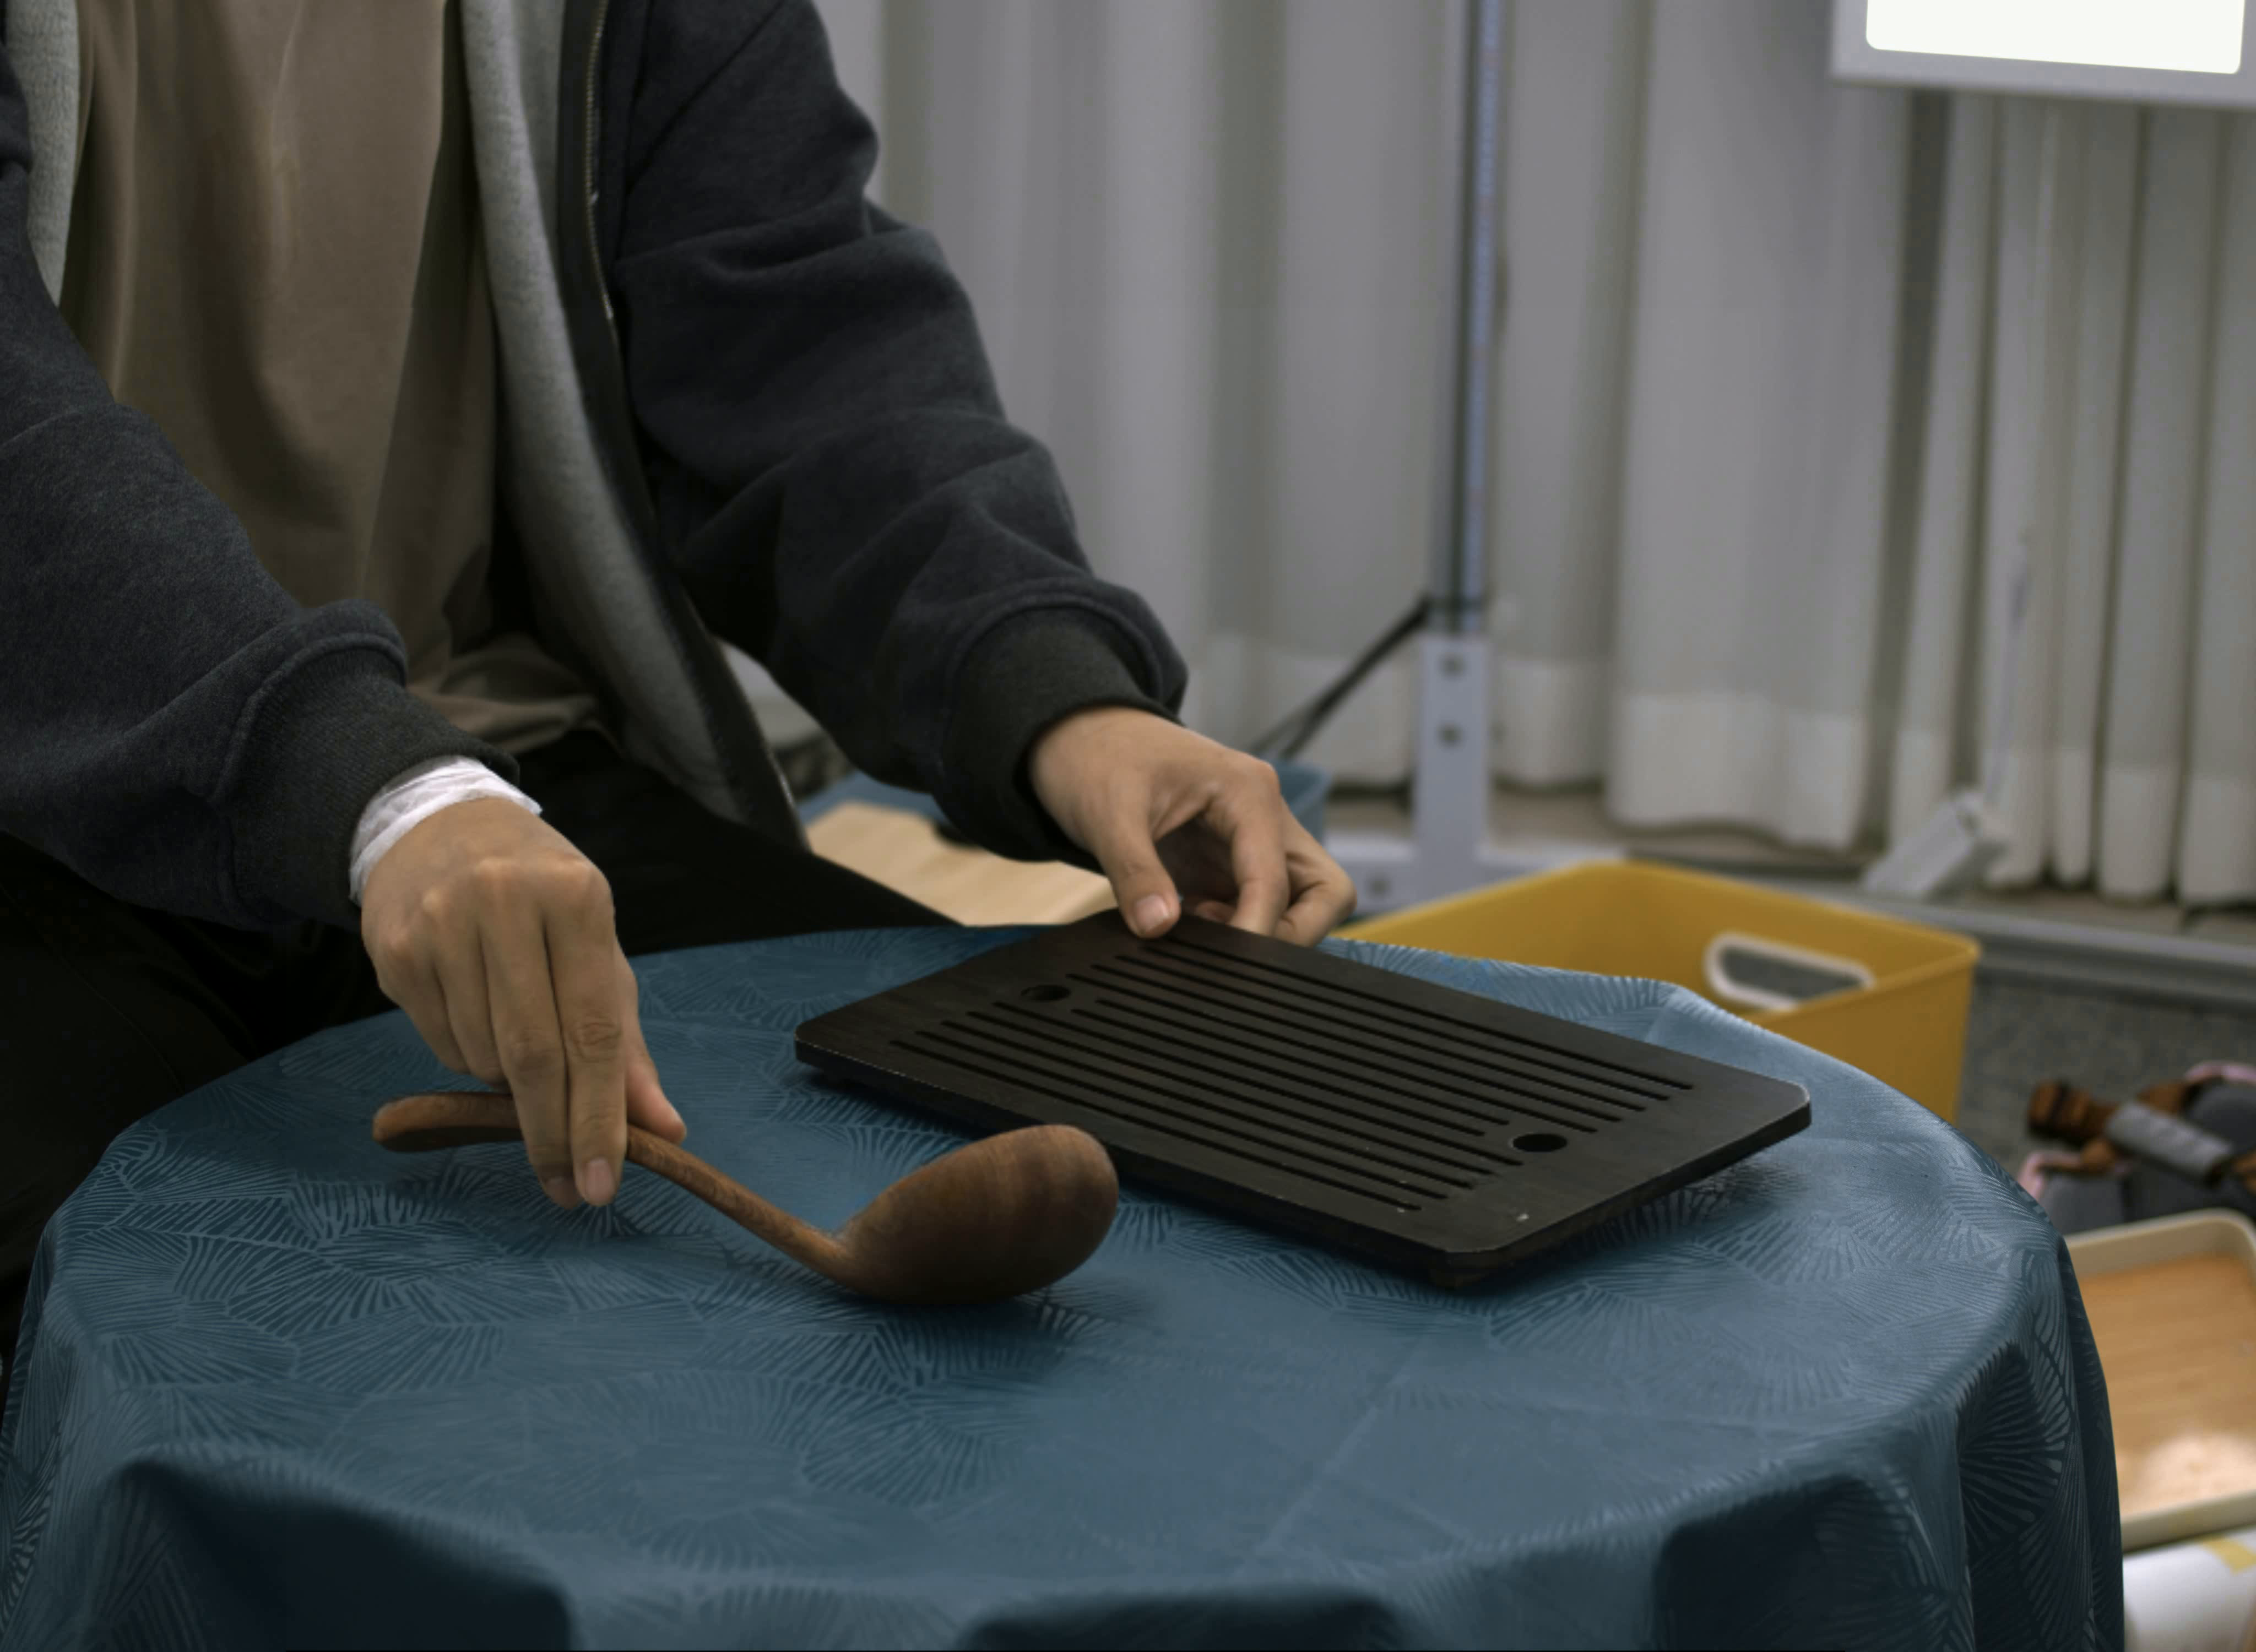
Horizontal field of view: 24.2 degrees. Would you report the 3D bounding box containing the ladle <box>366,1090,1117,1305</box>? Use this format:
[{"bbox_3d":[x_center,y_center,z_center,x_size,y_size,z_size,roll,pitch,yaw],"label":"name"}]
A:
[{"bbox_3d":[-0.119,0.093,1.560,0.257,0.065,0.077,13,-12,33],"label":"ladle"}]

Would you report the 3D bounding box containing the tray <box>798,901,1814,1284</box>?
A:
[{"bbox_3d":[0.053,0.081,1.683,0.302,0.019,0.171,15,25,42],"label":"tray"}]
